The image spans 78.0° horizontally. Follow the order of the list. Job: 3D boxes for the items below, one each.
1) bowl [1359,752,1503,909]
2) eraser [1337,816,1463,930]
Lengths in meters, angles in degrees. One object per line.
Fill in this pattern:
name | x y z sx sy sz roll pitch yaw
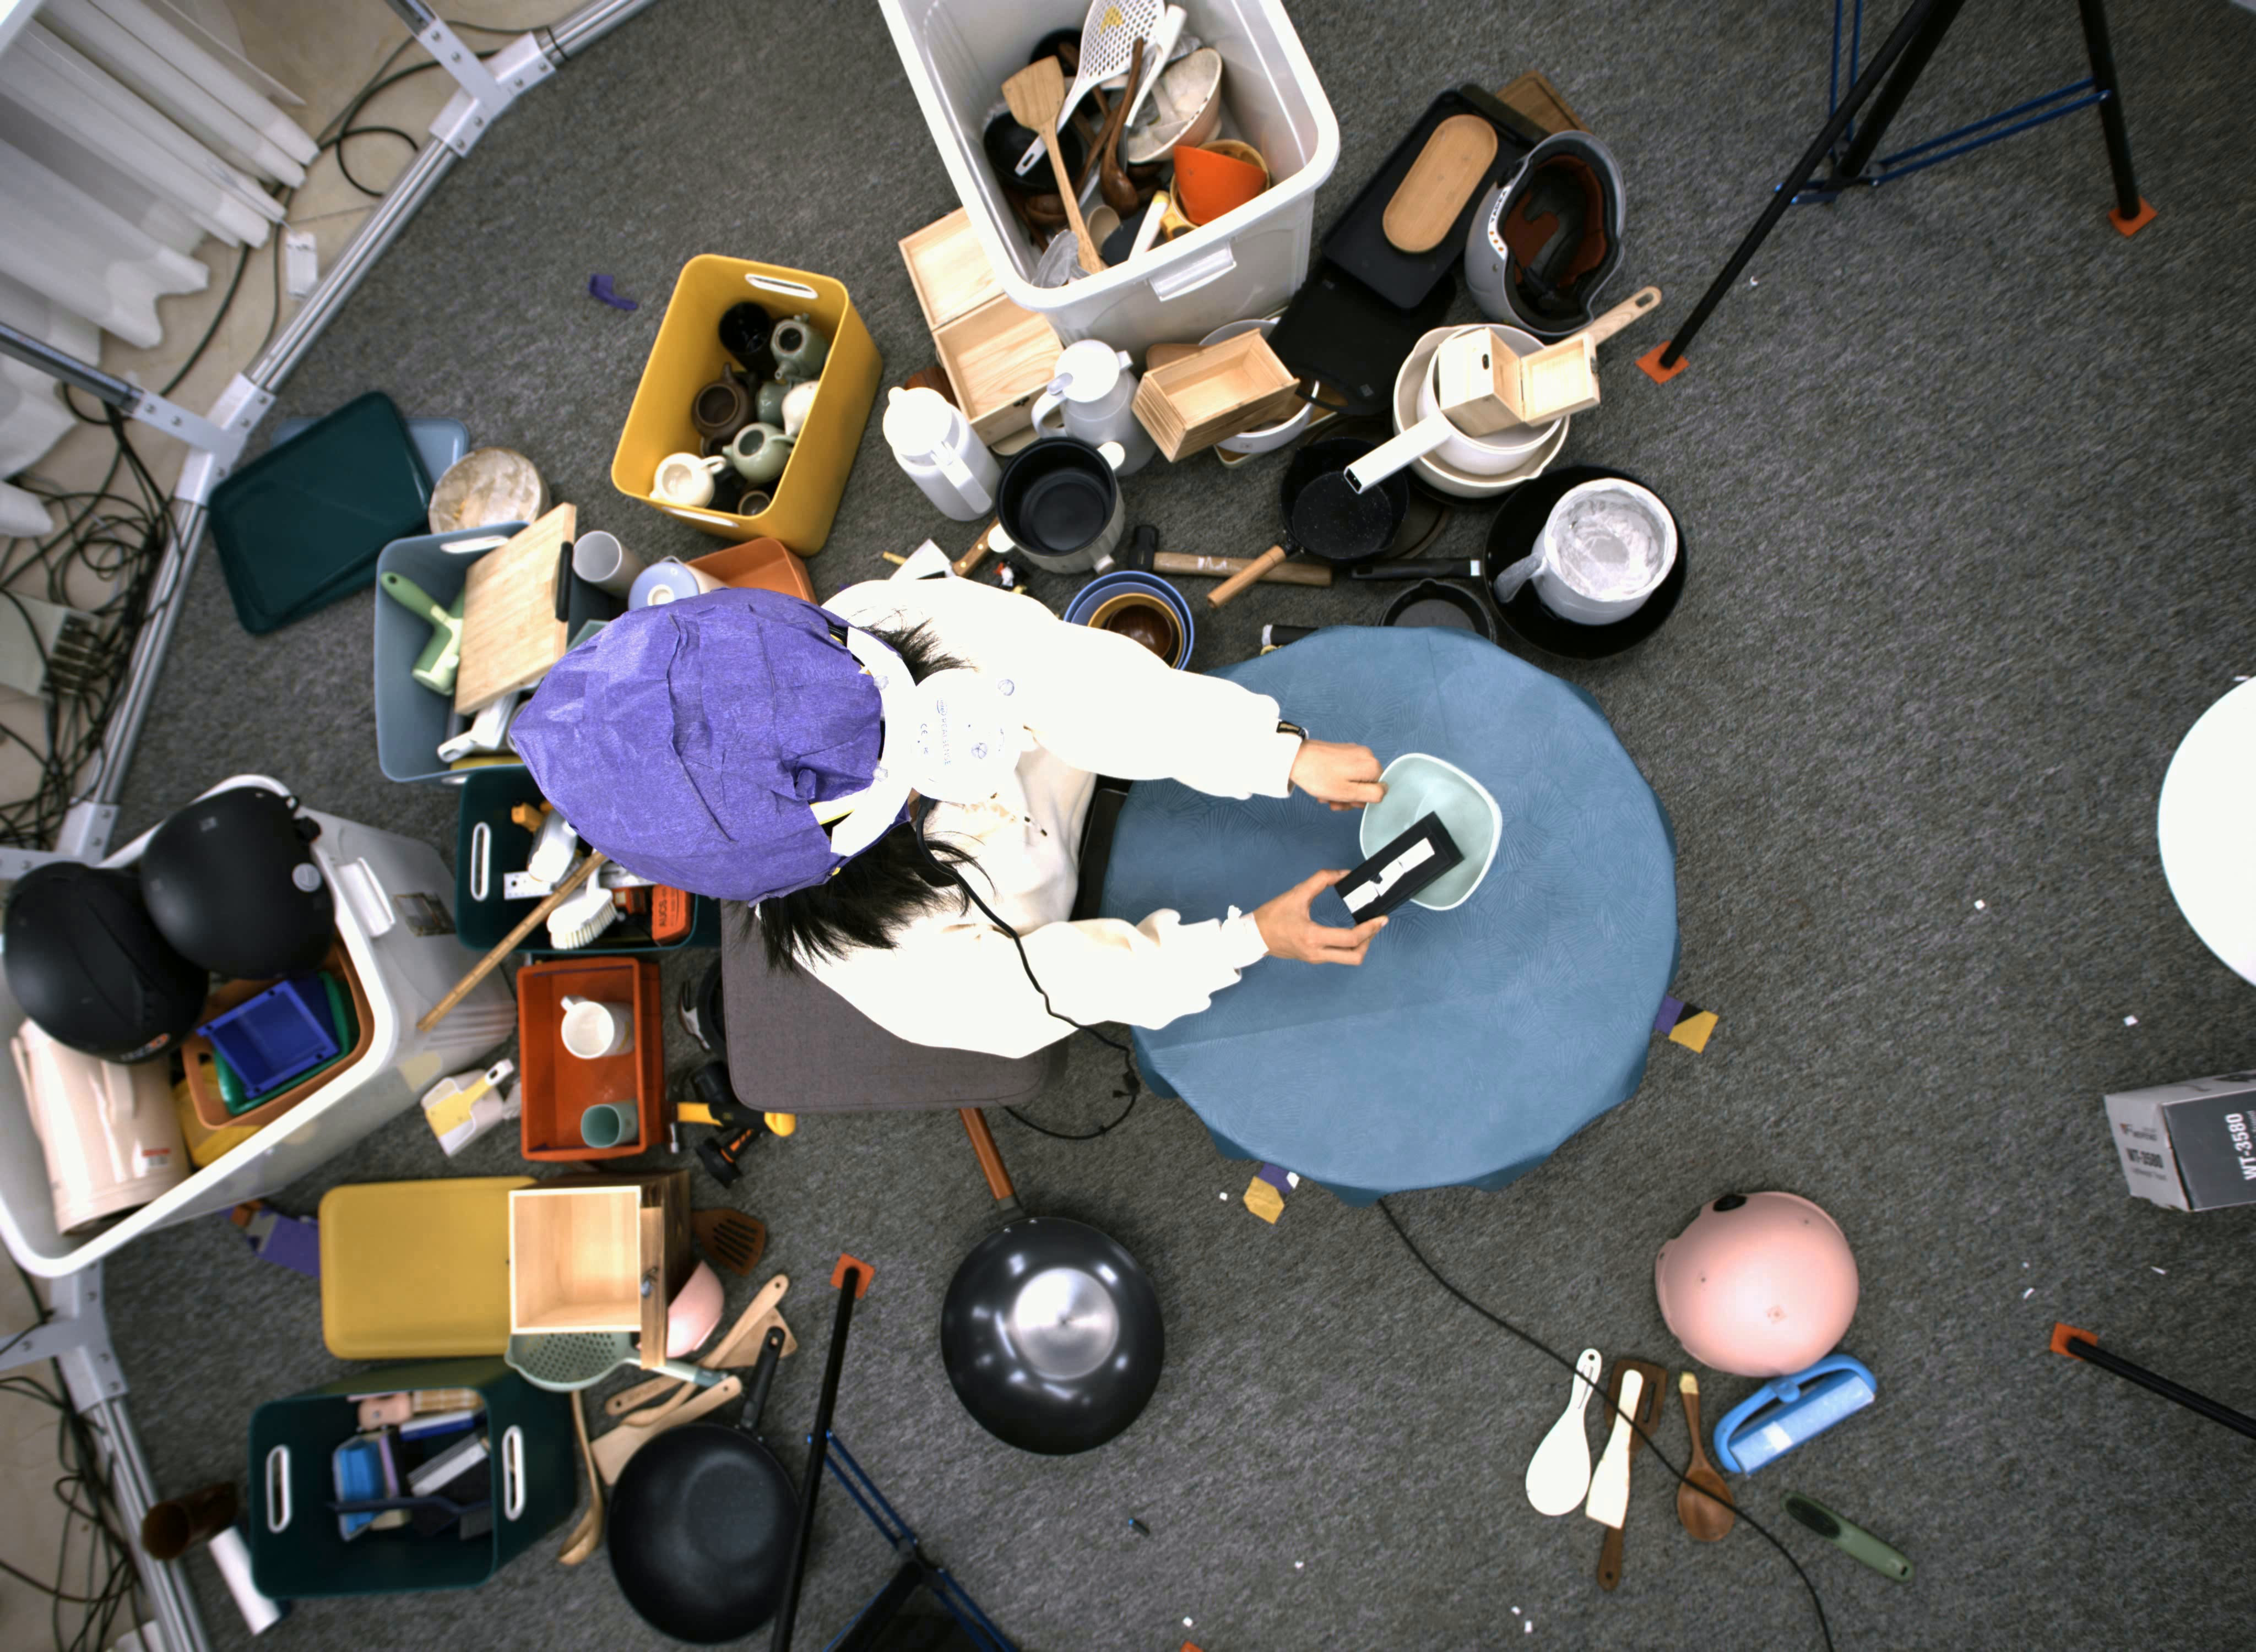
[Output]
bowl | 0.300 0.000 1.320 0.152 0.058 0.153 9 104 40
eraser | 0.258 0.043 1.314 0.128 0.030 0.053 -44 70 39
